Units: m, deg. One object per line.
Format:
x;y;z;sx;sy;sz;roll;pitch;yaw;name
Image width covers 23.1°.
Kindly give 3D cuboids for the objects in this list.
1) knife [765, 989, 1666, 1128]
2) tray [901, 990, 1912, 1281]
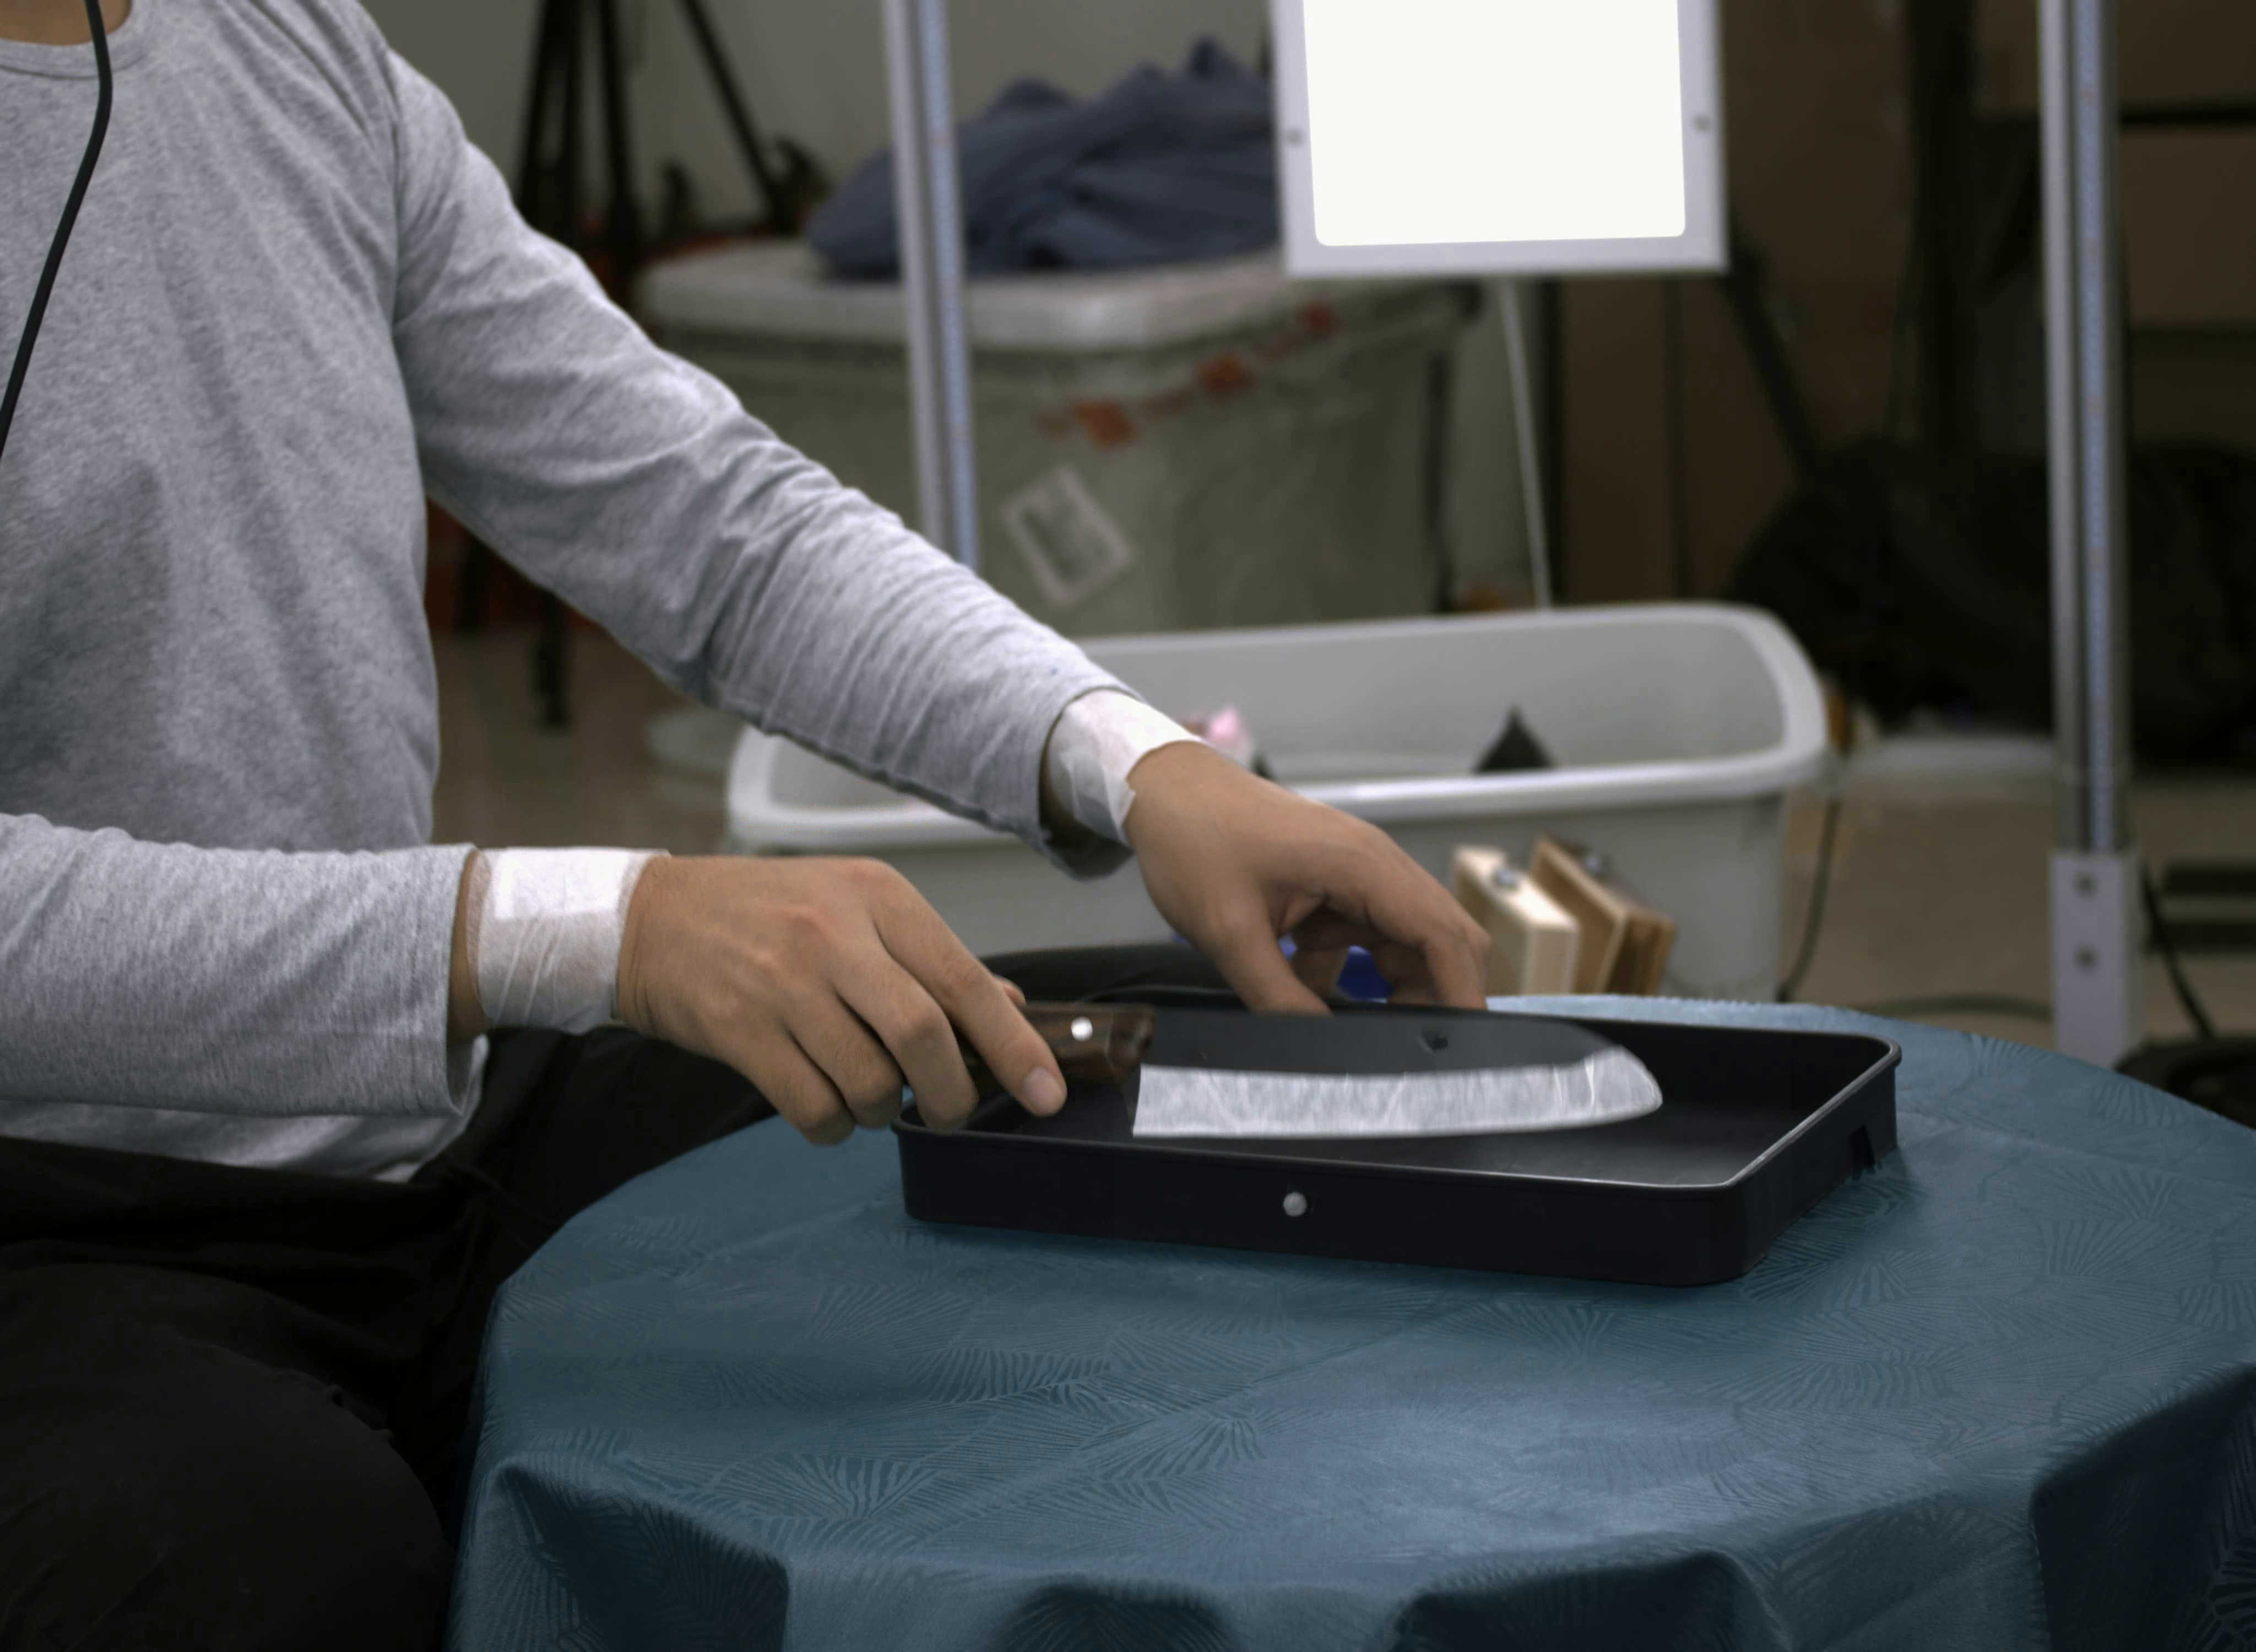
0.025;0.072;1.720;0.291;0.050;0.020;2;-27;15;knife
0.097;0.103;1.887;0.323;0.037;0.180;2;15;28;tray
